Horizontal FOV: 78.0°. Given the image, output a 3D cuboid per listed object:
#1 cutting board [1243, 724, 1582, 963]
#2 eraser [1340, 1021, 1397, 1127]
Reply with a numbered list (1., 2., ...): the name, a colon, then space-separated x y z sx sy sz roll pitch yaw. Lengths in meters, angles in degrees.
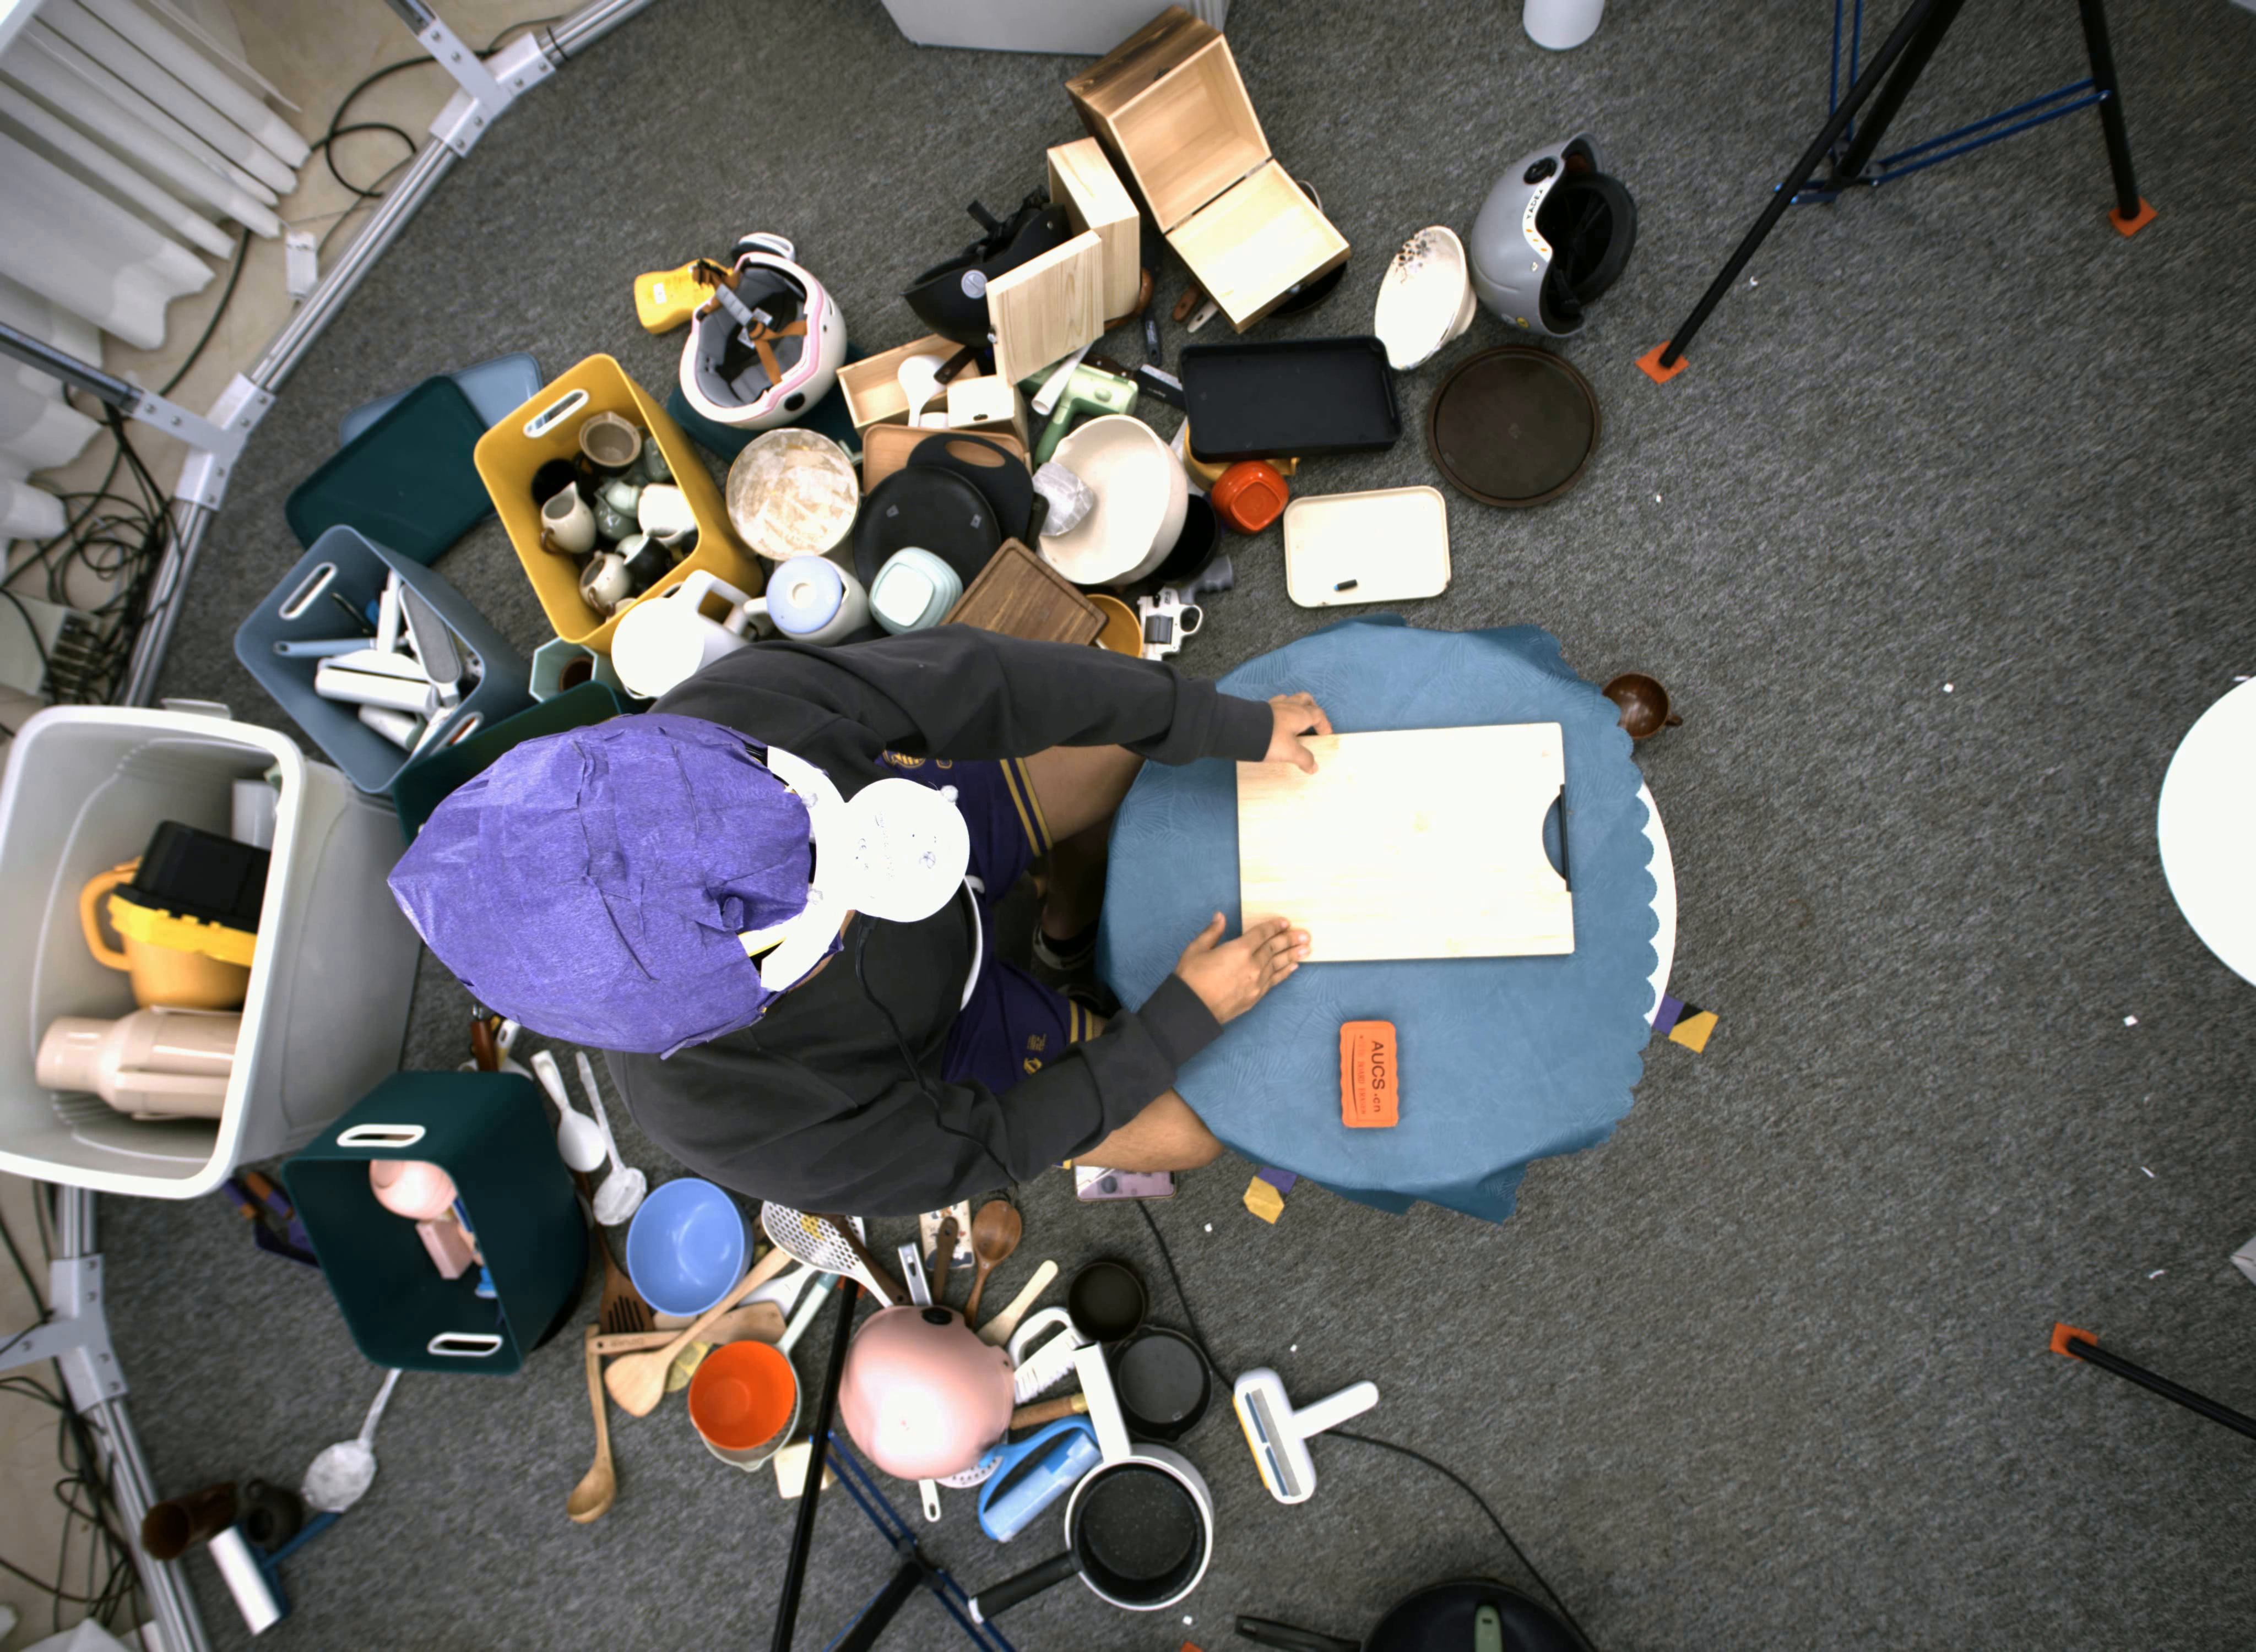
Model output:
1. cutting board: 0.292 0.019 1.450 0.350 0.023 0.249 -3 87 10
2. eraser: 0.250 0.256 1.440 0.059 0.023 0.107 -1 86 10
